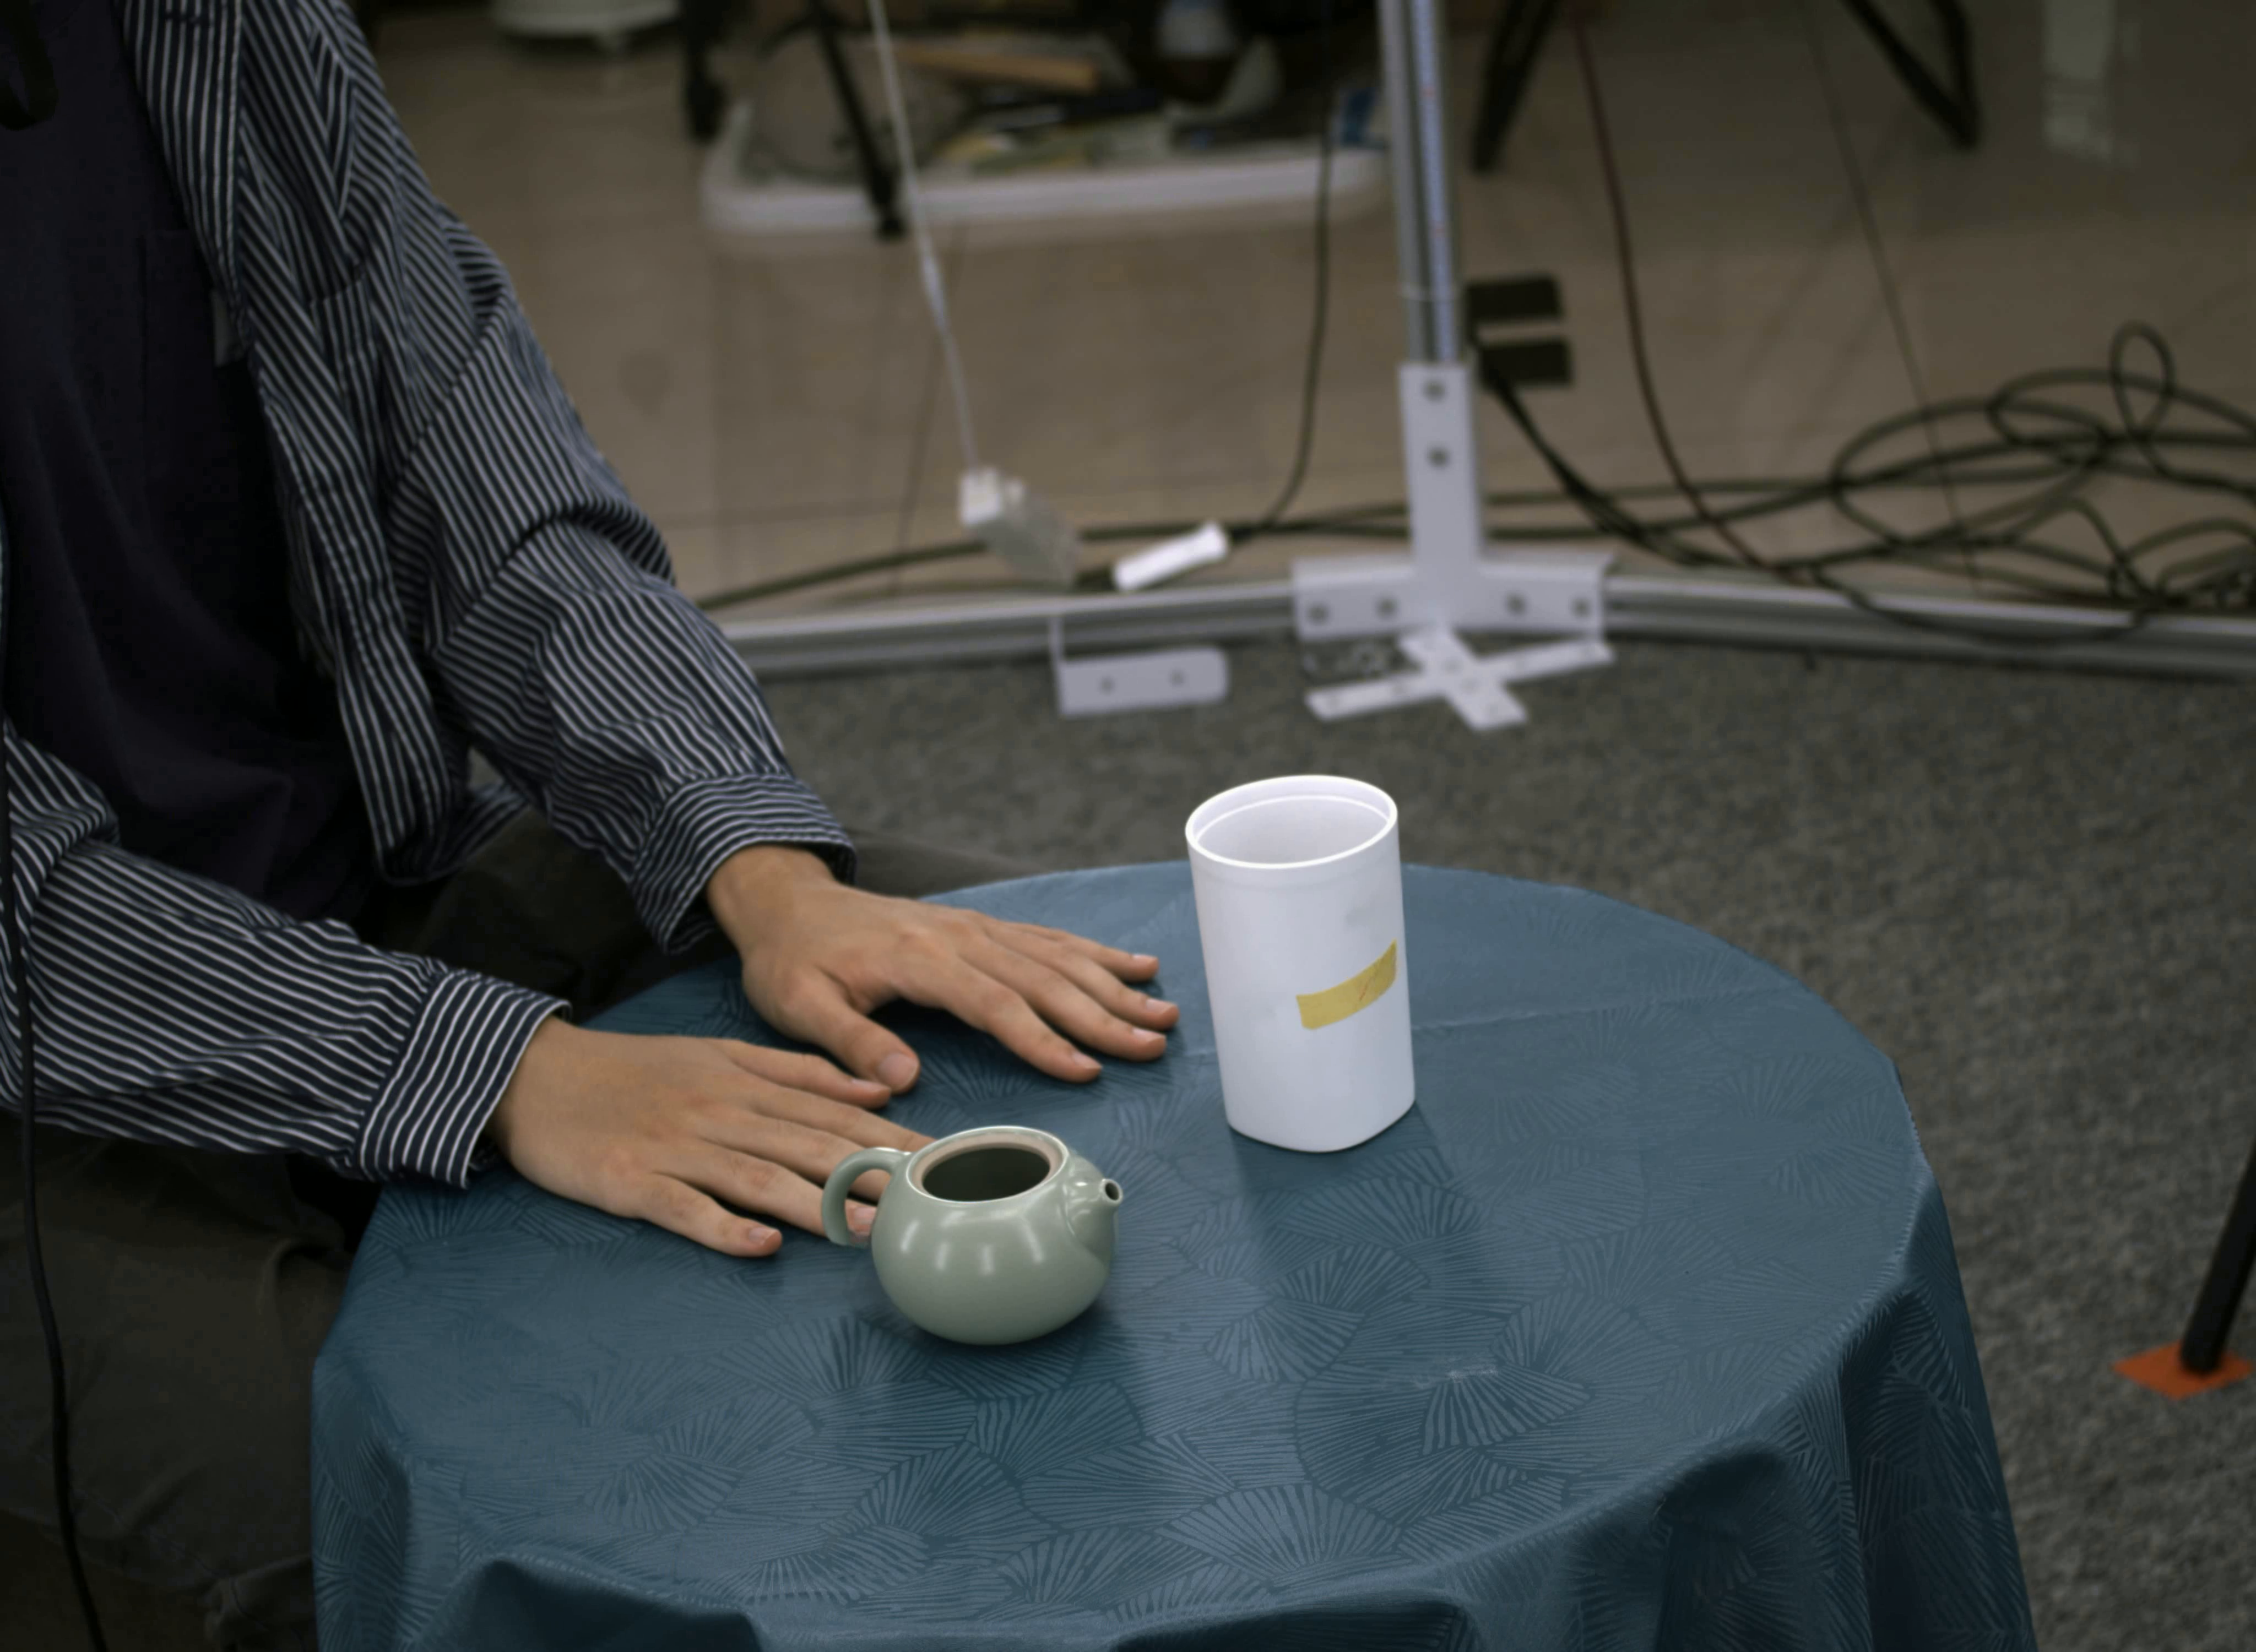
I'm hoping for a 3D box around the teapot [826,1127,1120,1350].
[{"bbox_3d":[-0.057,0.150,2.073,0.128,0.062,0.090,9,32,31],"label":"teapot"}]

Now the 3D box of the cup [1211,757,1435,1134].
[{"bbox_3d":[0.078,0.047,2.172,0.081,0.127,0.080,-5,26,3],"label":"cup"}]
